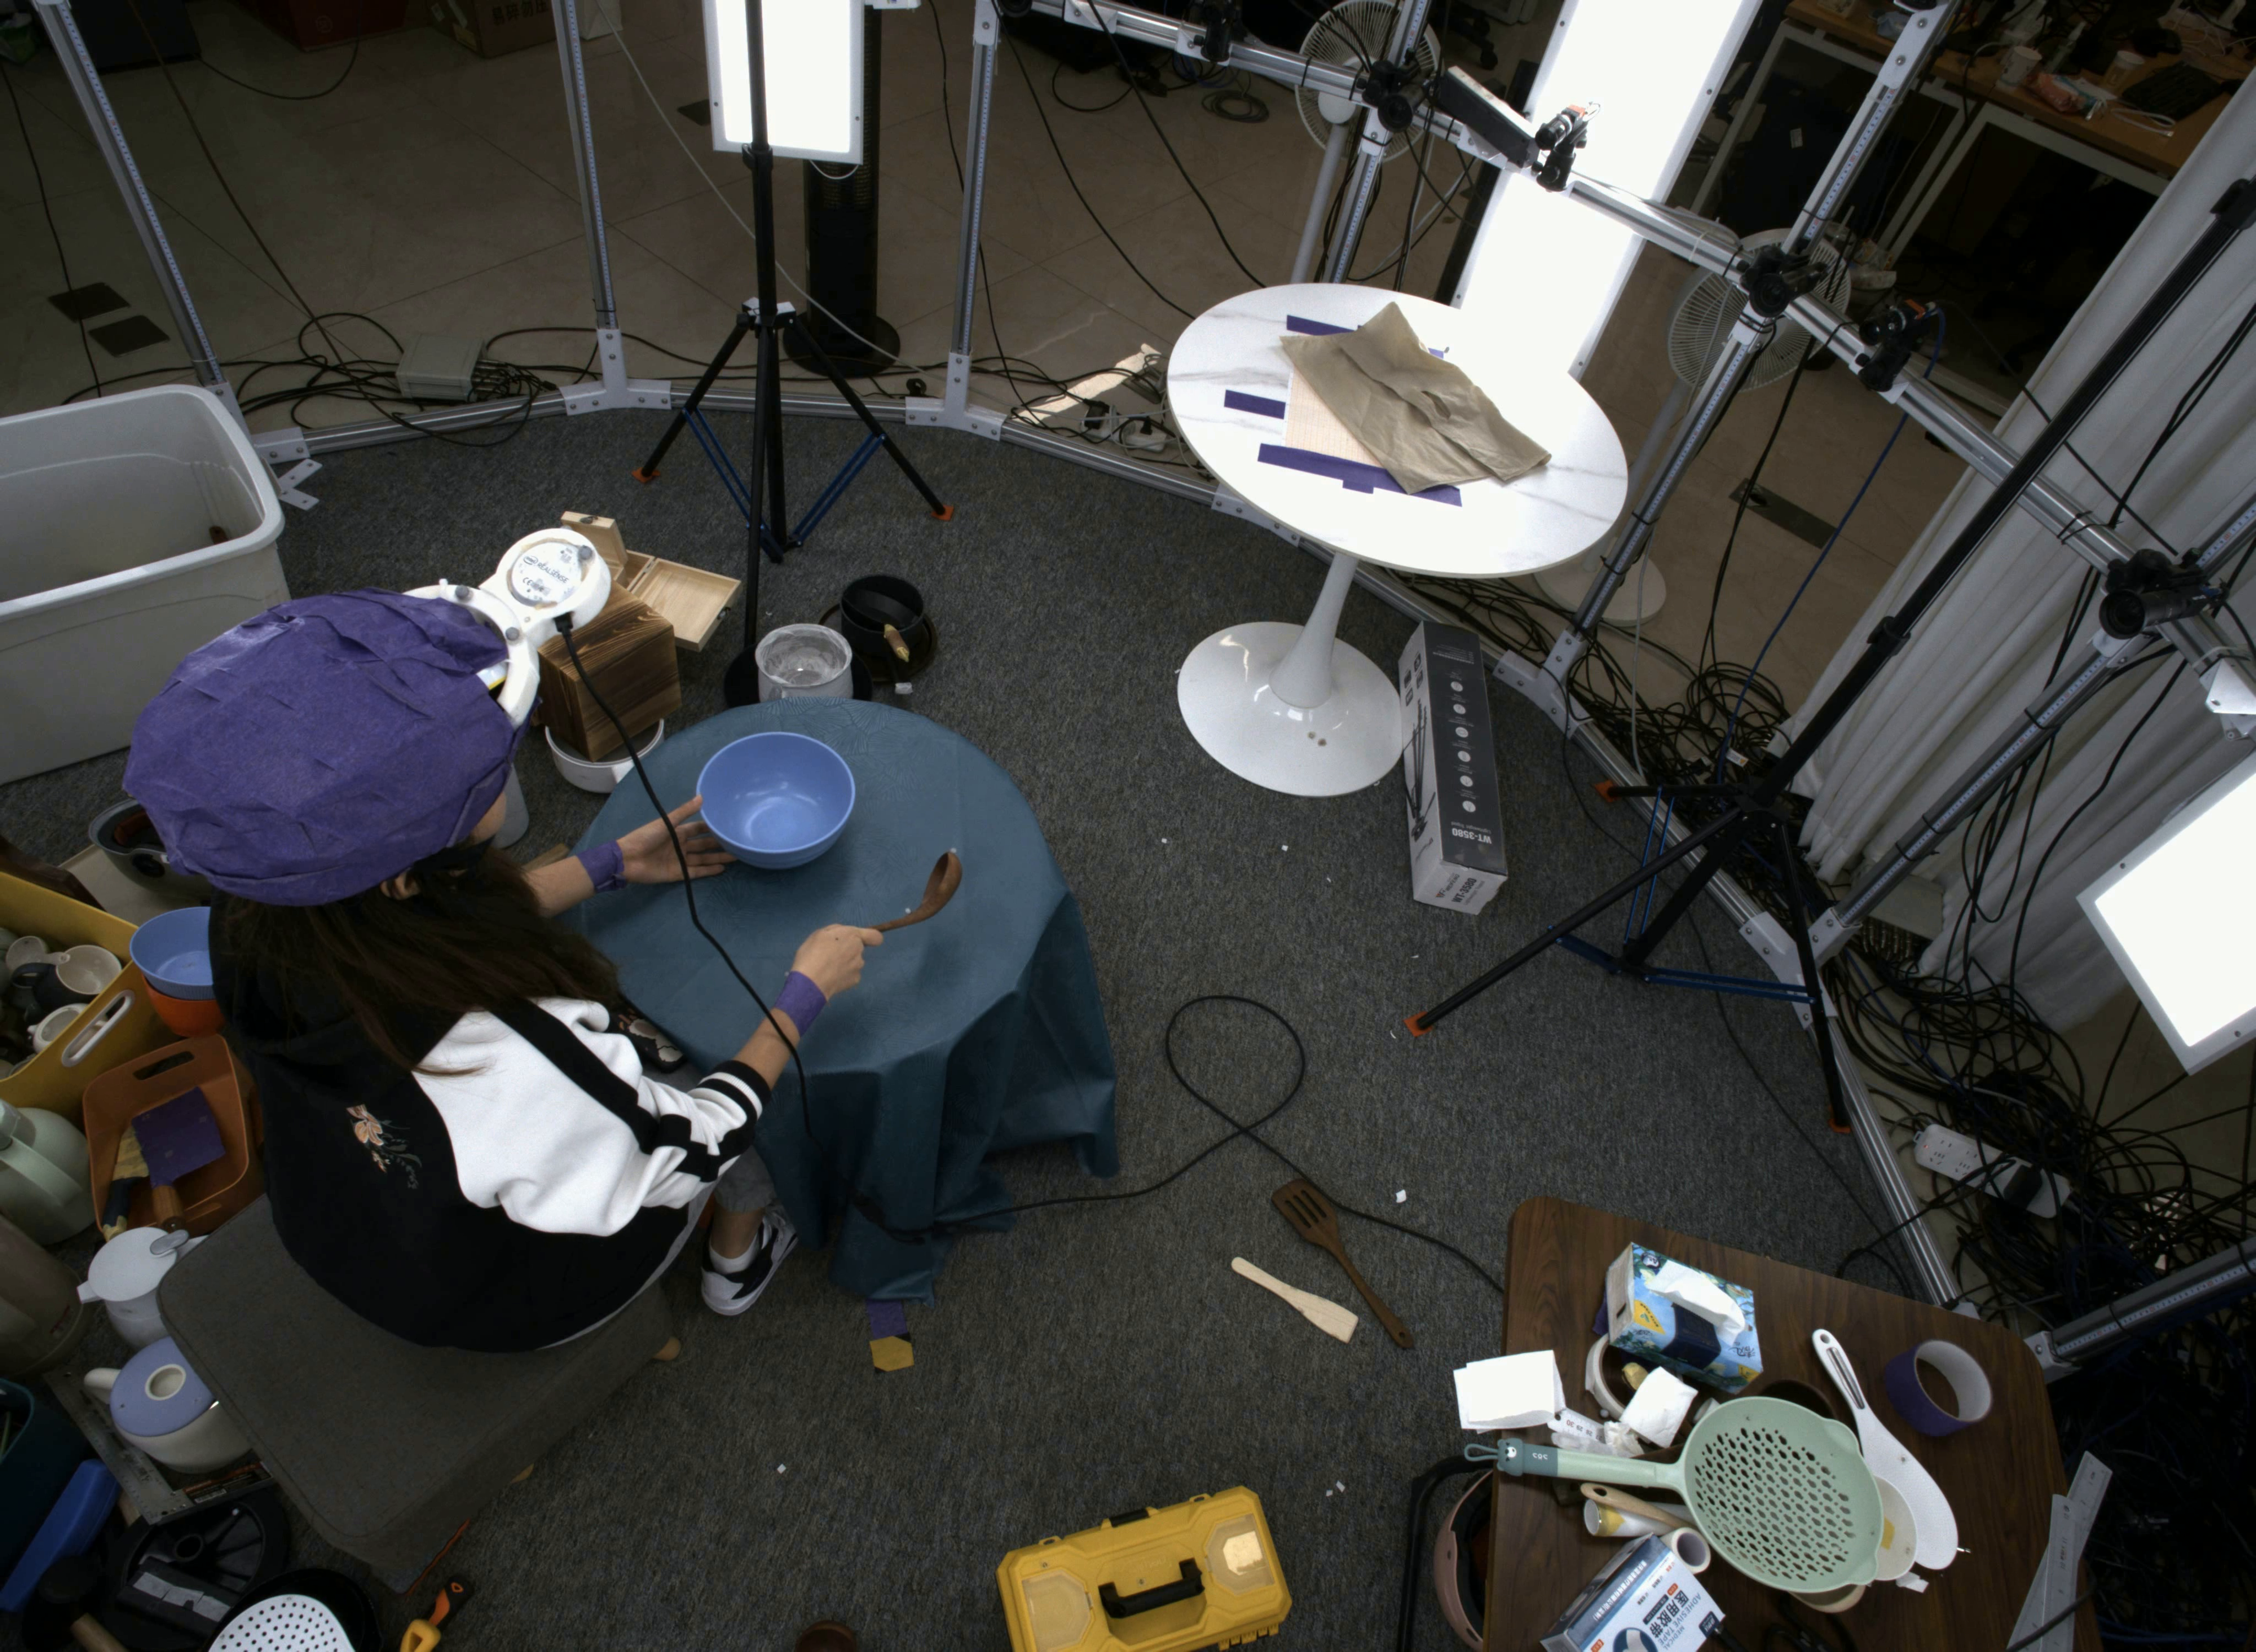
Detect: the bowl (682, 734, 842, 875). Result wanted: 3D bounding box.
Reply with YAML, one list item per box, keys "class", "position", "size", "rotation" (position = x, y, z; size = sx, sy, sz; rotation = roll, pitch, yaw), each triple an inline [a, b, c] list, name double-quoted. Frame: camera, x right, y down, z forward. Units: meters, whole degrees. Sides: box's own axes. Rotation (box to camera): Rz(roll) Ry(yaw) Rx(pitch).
- class: "bowl"
  position: [-0.469, -0.014, 1.656]
  size: [0.197, 0.097, 0.193]
  rotation: [12, 51, -13]

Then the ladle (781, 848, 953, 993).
- class: "ladle"
  position: [-0.310, 0.107, 1.536]
  size: [0.261, 0.076, 0.065]
  rotation: [-30, 86, -34]
